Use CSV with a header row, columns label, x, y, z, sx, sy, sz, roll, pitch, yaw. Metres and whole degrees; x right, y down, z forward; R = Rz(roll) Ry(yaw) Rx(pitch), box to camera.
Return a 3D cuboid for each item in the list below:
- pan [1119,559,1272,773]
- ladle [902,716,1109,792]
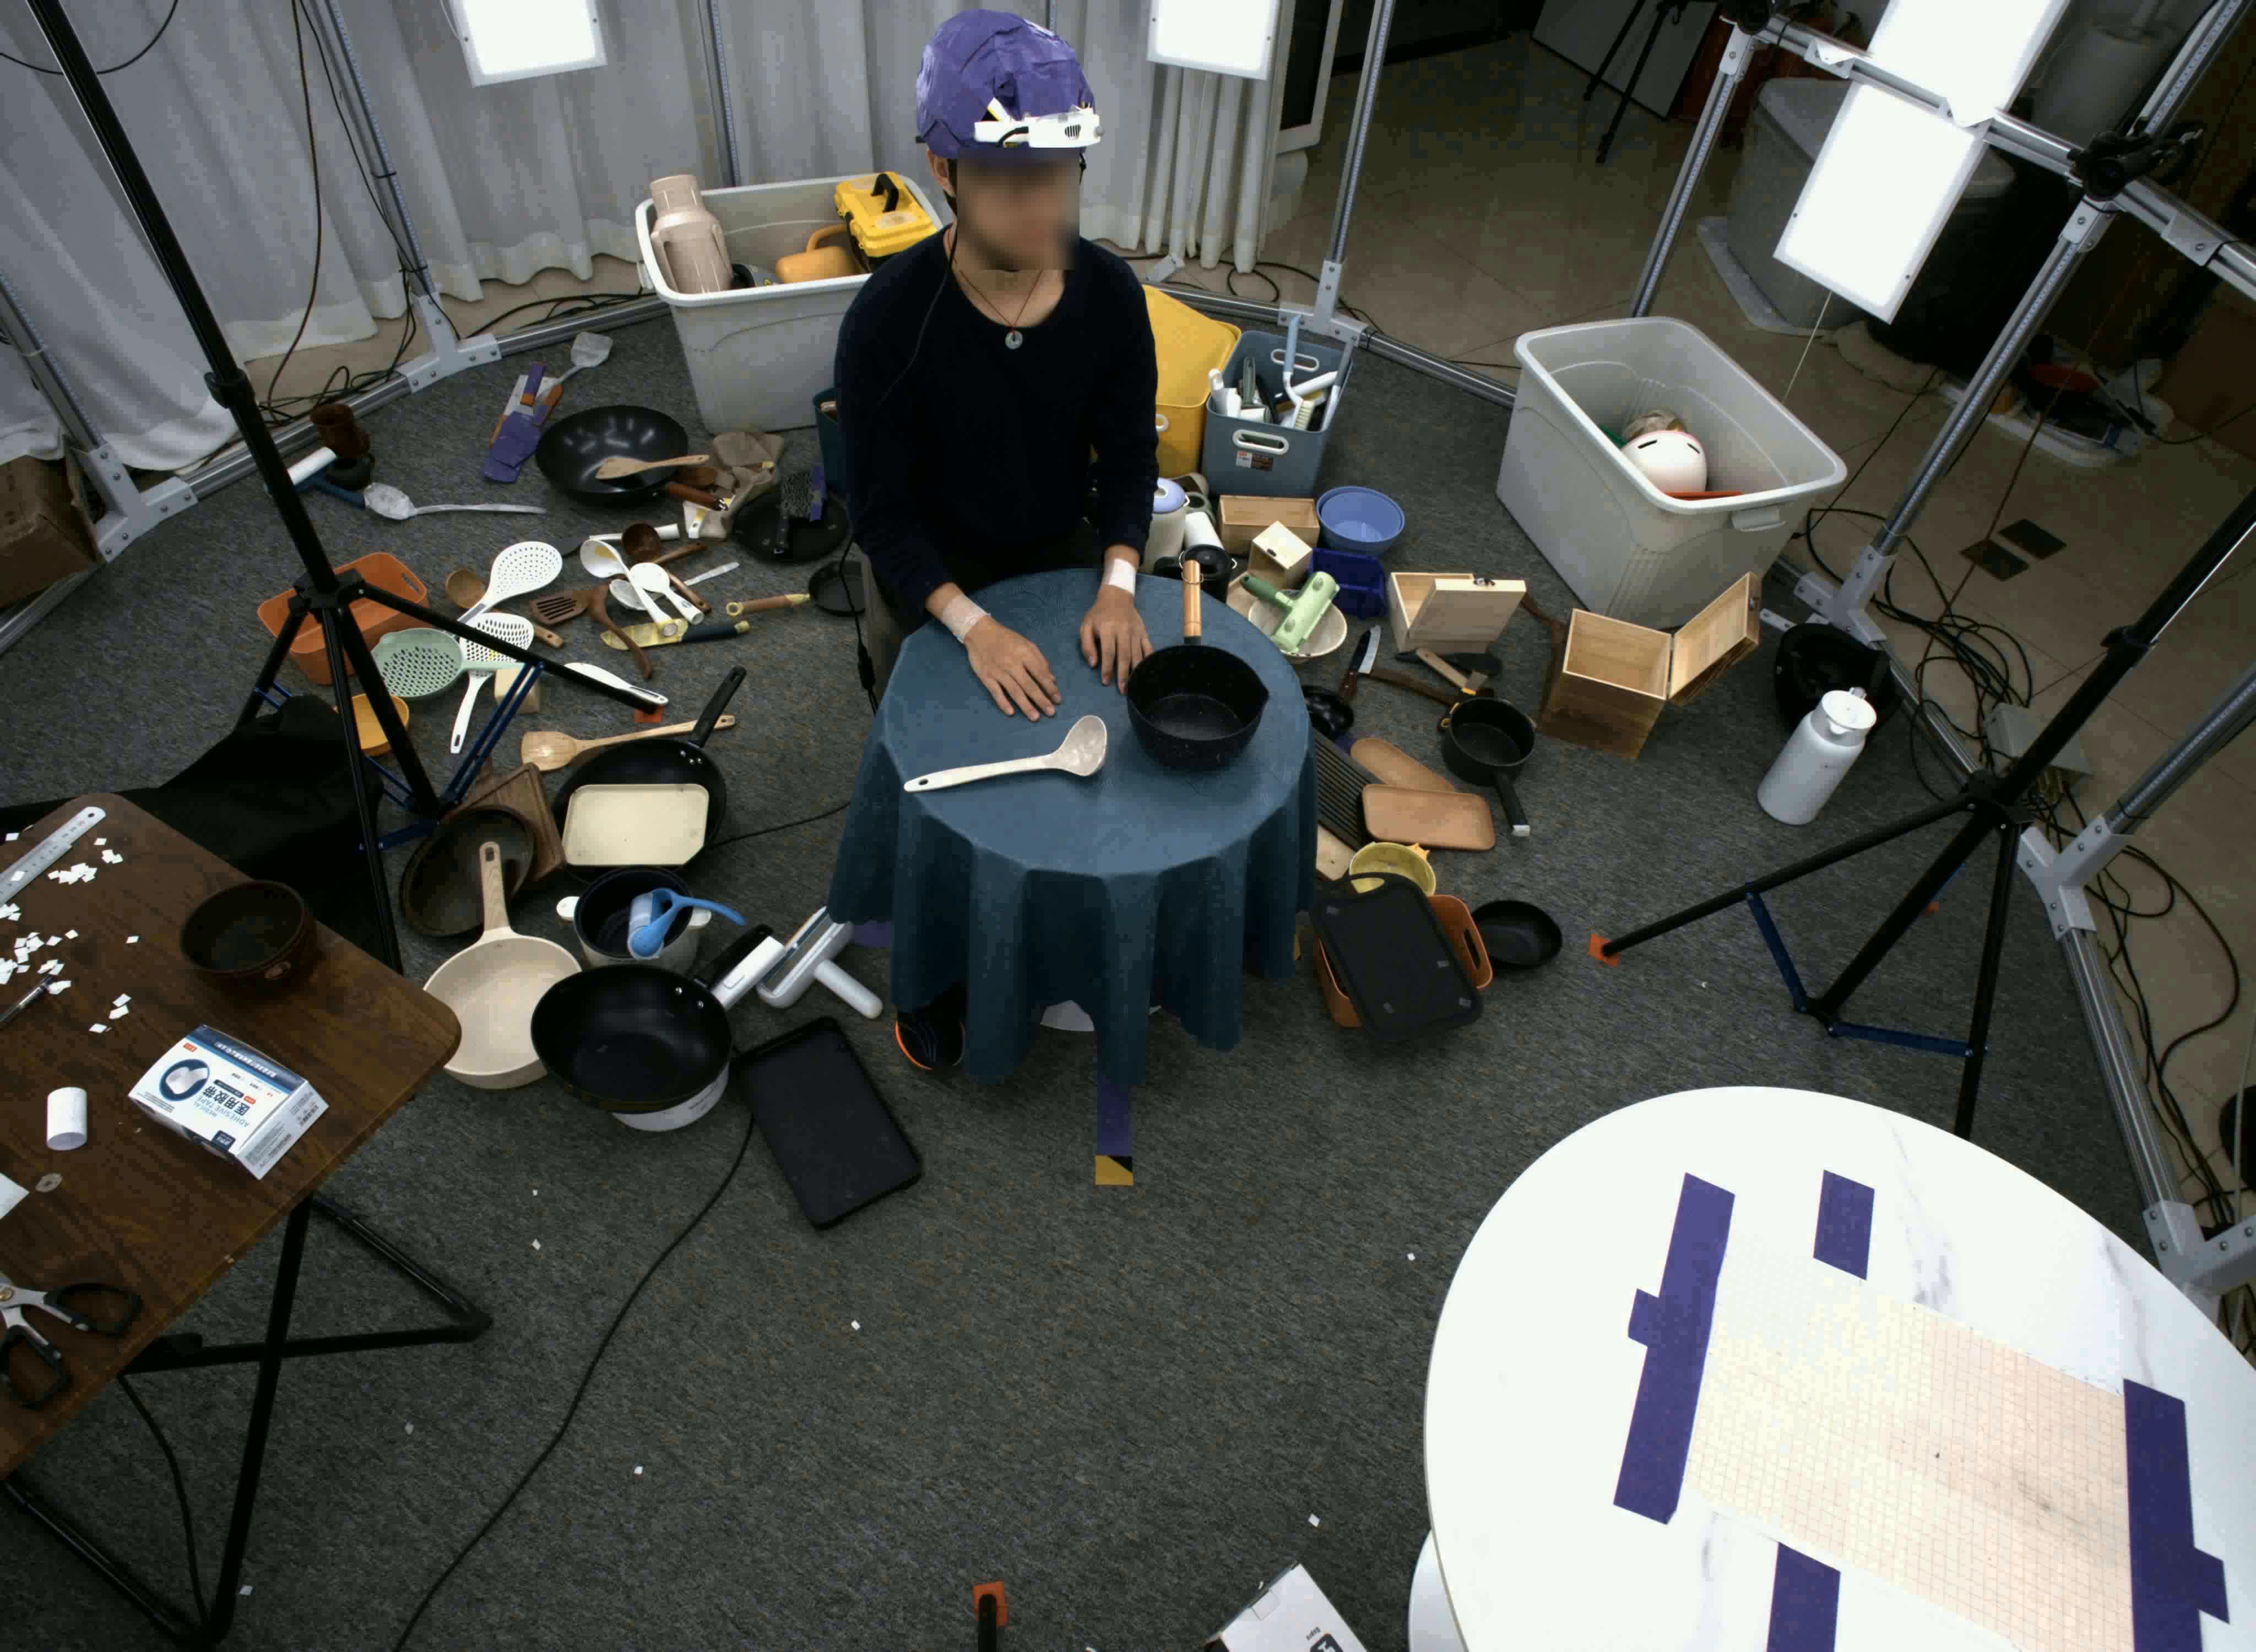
label,x,y,z,sx,sy,sz,roll,pitch,yaw
pan,0.089,-0.225,1.800,0.207,0.105,0.351,0,50,-2
ladle,-0.161,-0.089,1.693,0.274,0.068,0.091,-9,57,-11
